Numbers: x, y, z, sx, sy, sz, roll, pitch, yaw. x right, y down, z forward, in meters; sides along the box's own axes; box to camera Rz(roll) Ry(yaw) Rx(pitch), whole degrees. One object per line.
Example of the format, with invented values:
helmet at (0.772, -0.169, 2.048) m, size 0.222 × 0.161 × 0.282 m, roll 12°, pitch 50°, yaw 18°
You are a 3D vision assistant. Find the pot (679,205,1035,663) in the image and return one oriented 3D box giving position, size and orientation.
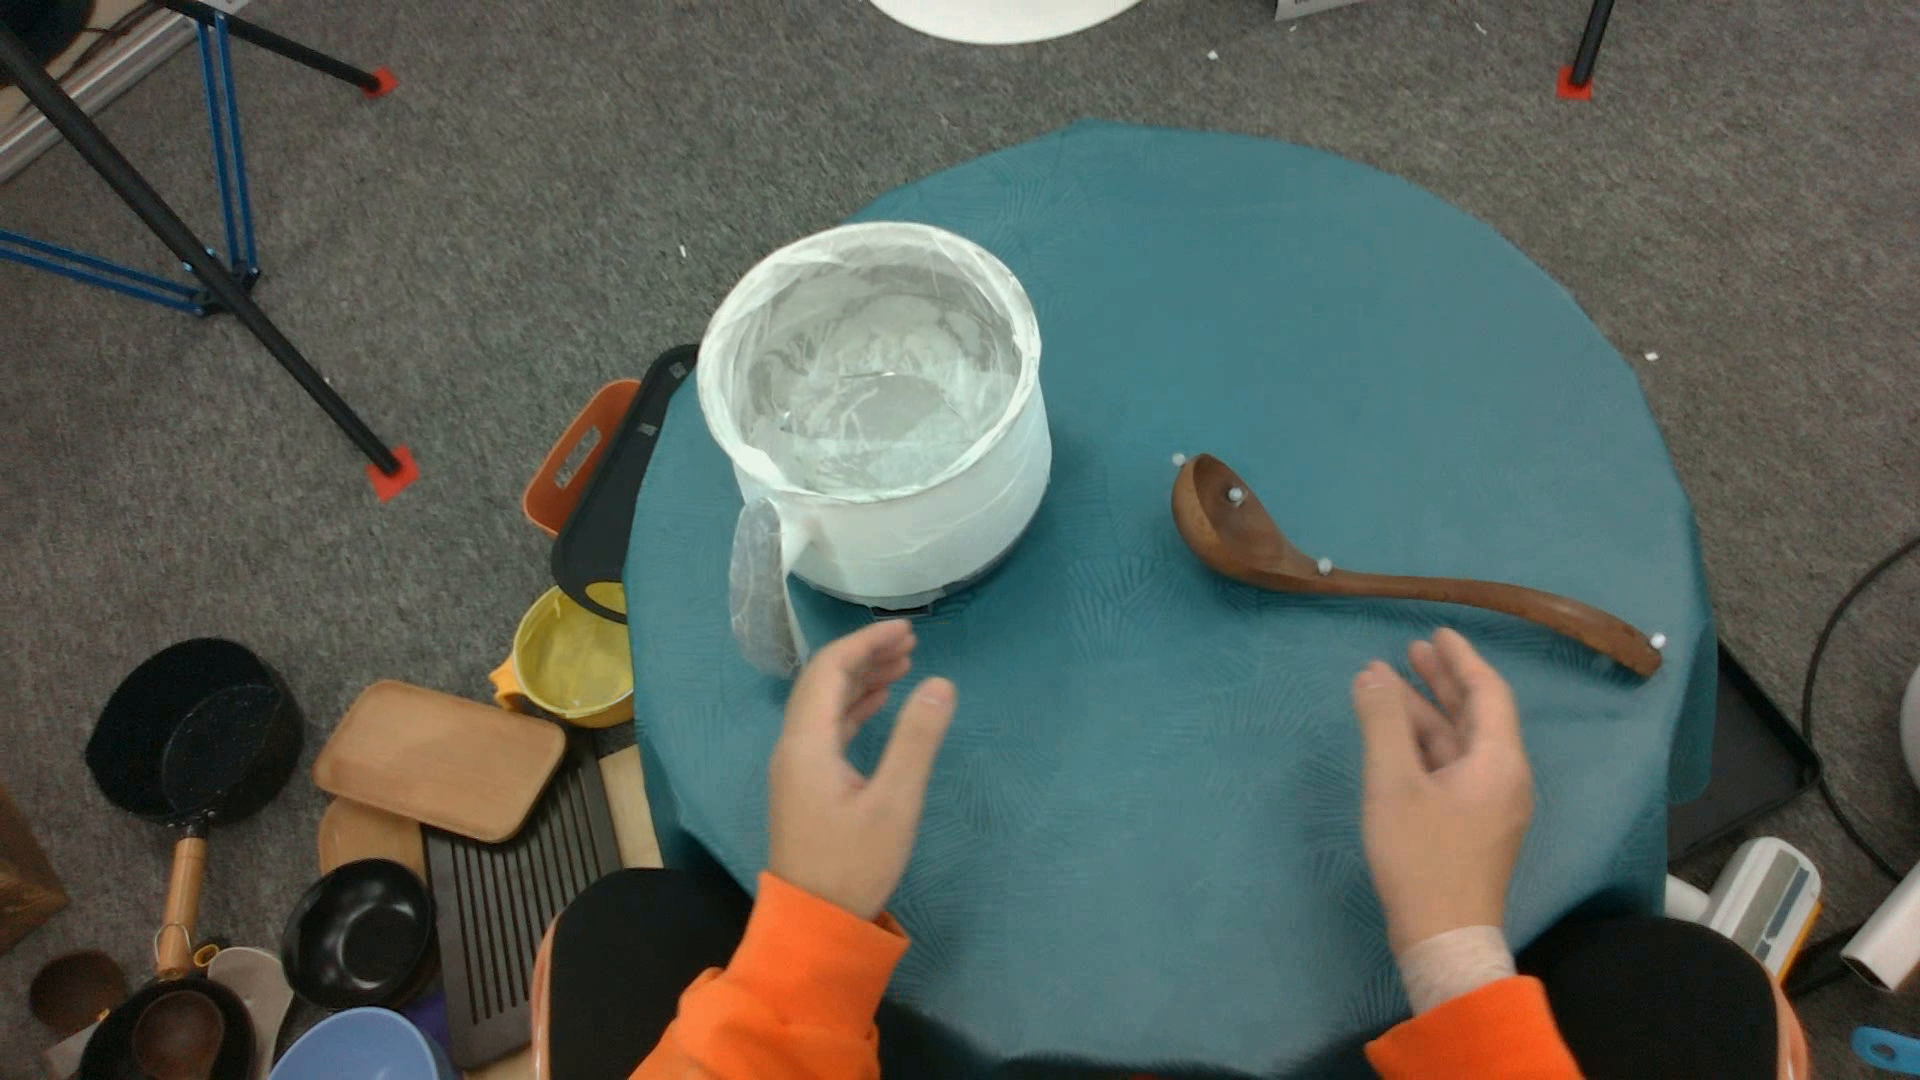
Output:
pot at (-0.062, -0.050, 0.742) m, size 0.178 × 0.136 × 0.234 m, roll 21°, pitch 65°, yaw 18°

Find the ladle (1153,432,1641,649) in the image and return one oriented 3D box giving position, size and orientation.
ladle at (0.228, 0.000, 0.725) m, size 0.260 × 0.065 × 0.077 m, roll 13°, pitch 37°, yaw 14°
